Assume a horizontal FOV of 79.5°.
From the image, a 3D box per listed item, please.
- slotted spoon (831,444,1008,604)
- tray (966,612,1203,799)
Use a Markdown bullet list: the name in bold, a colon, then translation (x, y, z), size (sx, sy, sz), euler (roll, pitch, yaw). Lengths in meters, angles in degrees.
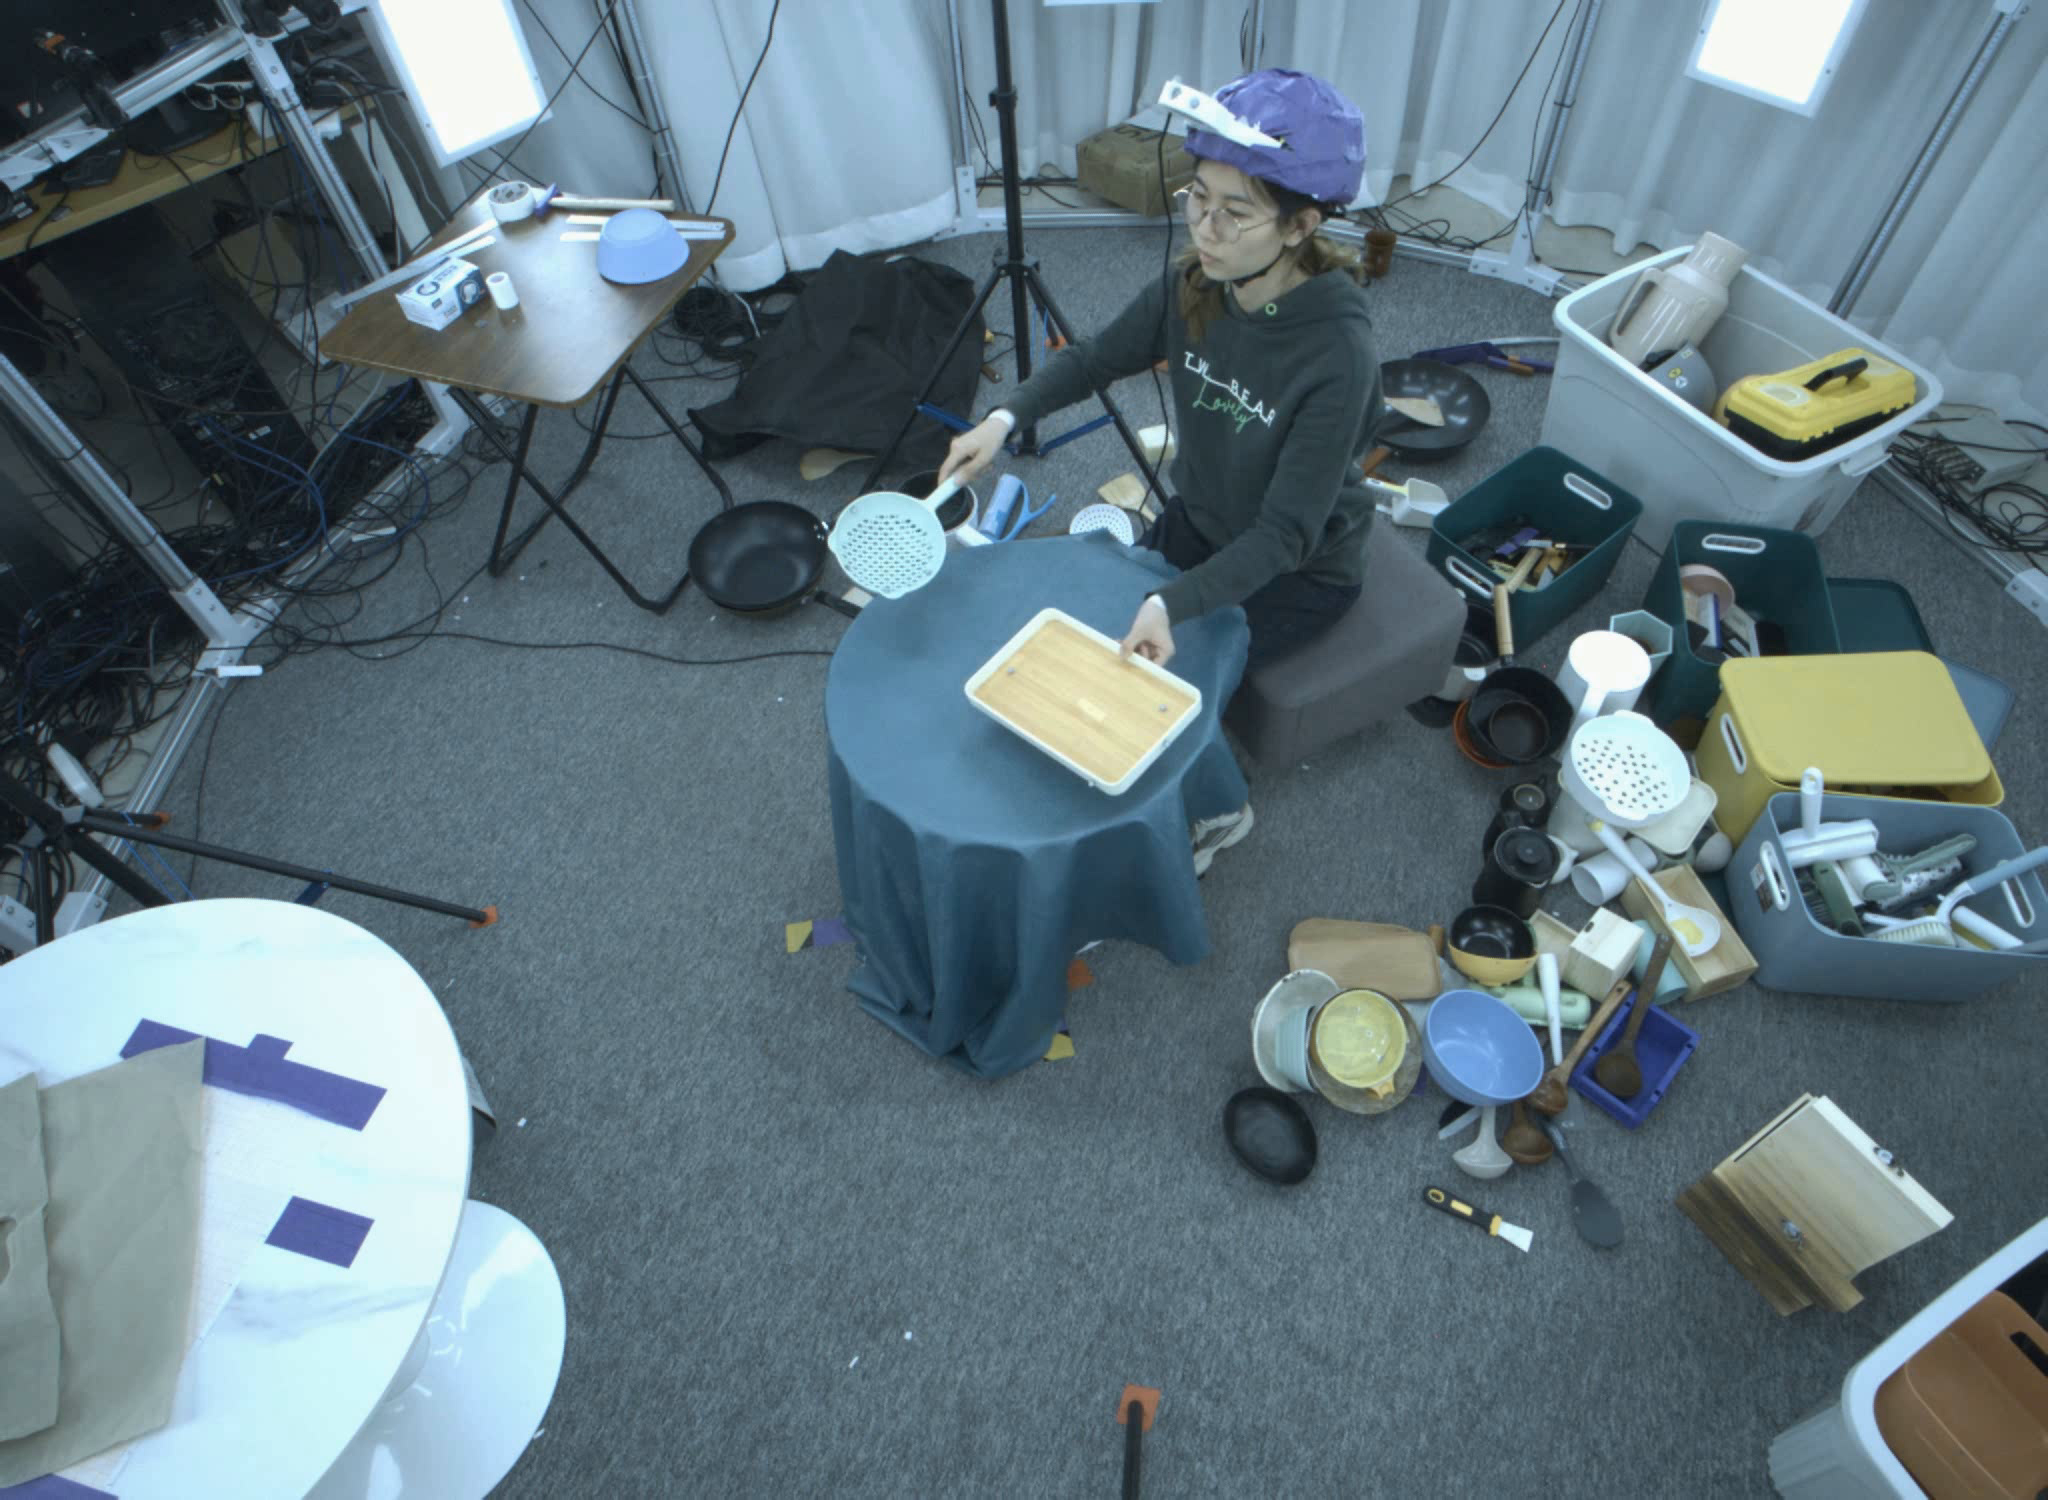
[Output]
- **slotted spoon**: translation (-0.142, -0.369, 1.880), size (0.169, 0.075, 0.360), euler (41, 75, -1)
- **tray**: translation (0.081, -0.068, 1.715), size (0.294, 0.028, 0.192), euler (35, 70, 31)
